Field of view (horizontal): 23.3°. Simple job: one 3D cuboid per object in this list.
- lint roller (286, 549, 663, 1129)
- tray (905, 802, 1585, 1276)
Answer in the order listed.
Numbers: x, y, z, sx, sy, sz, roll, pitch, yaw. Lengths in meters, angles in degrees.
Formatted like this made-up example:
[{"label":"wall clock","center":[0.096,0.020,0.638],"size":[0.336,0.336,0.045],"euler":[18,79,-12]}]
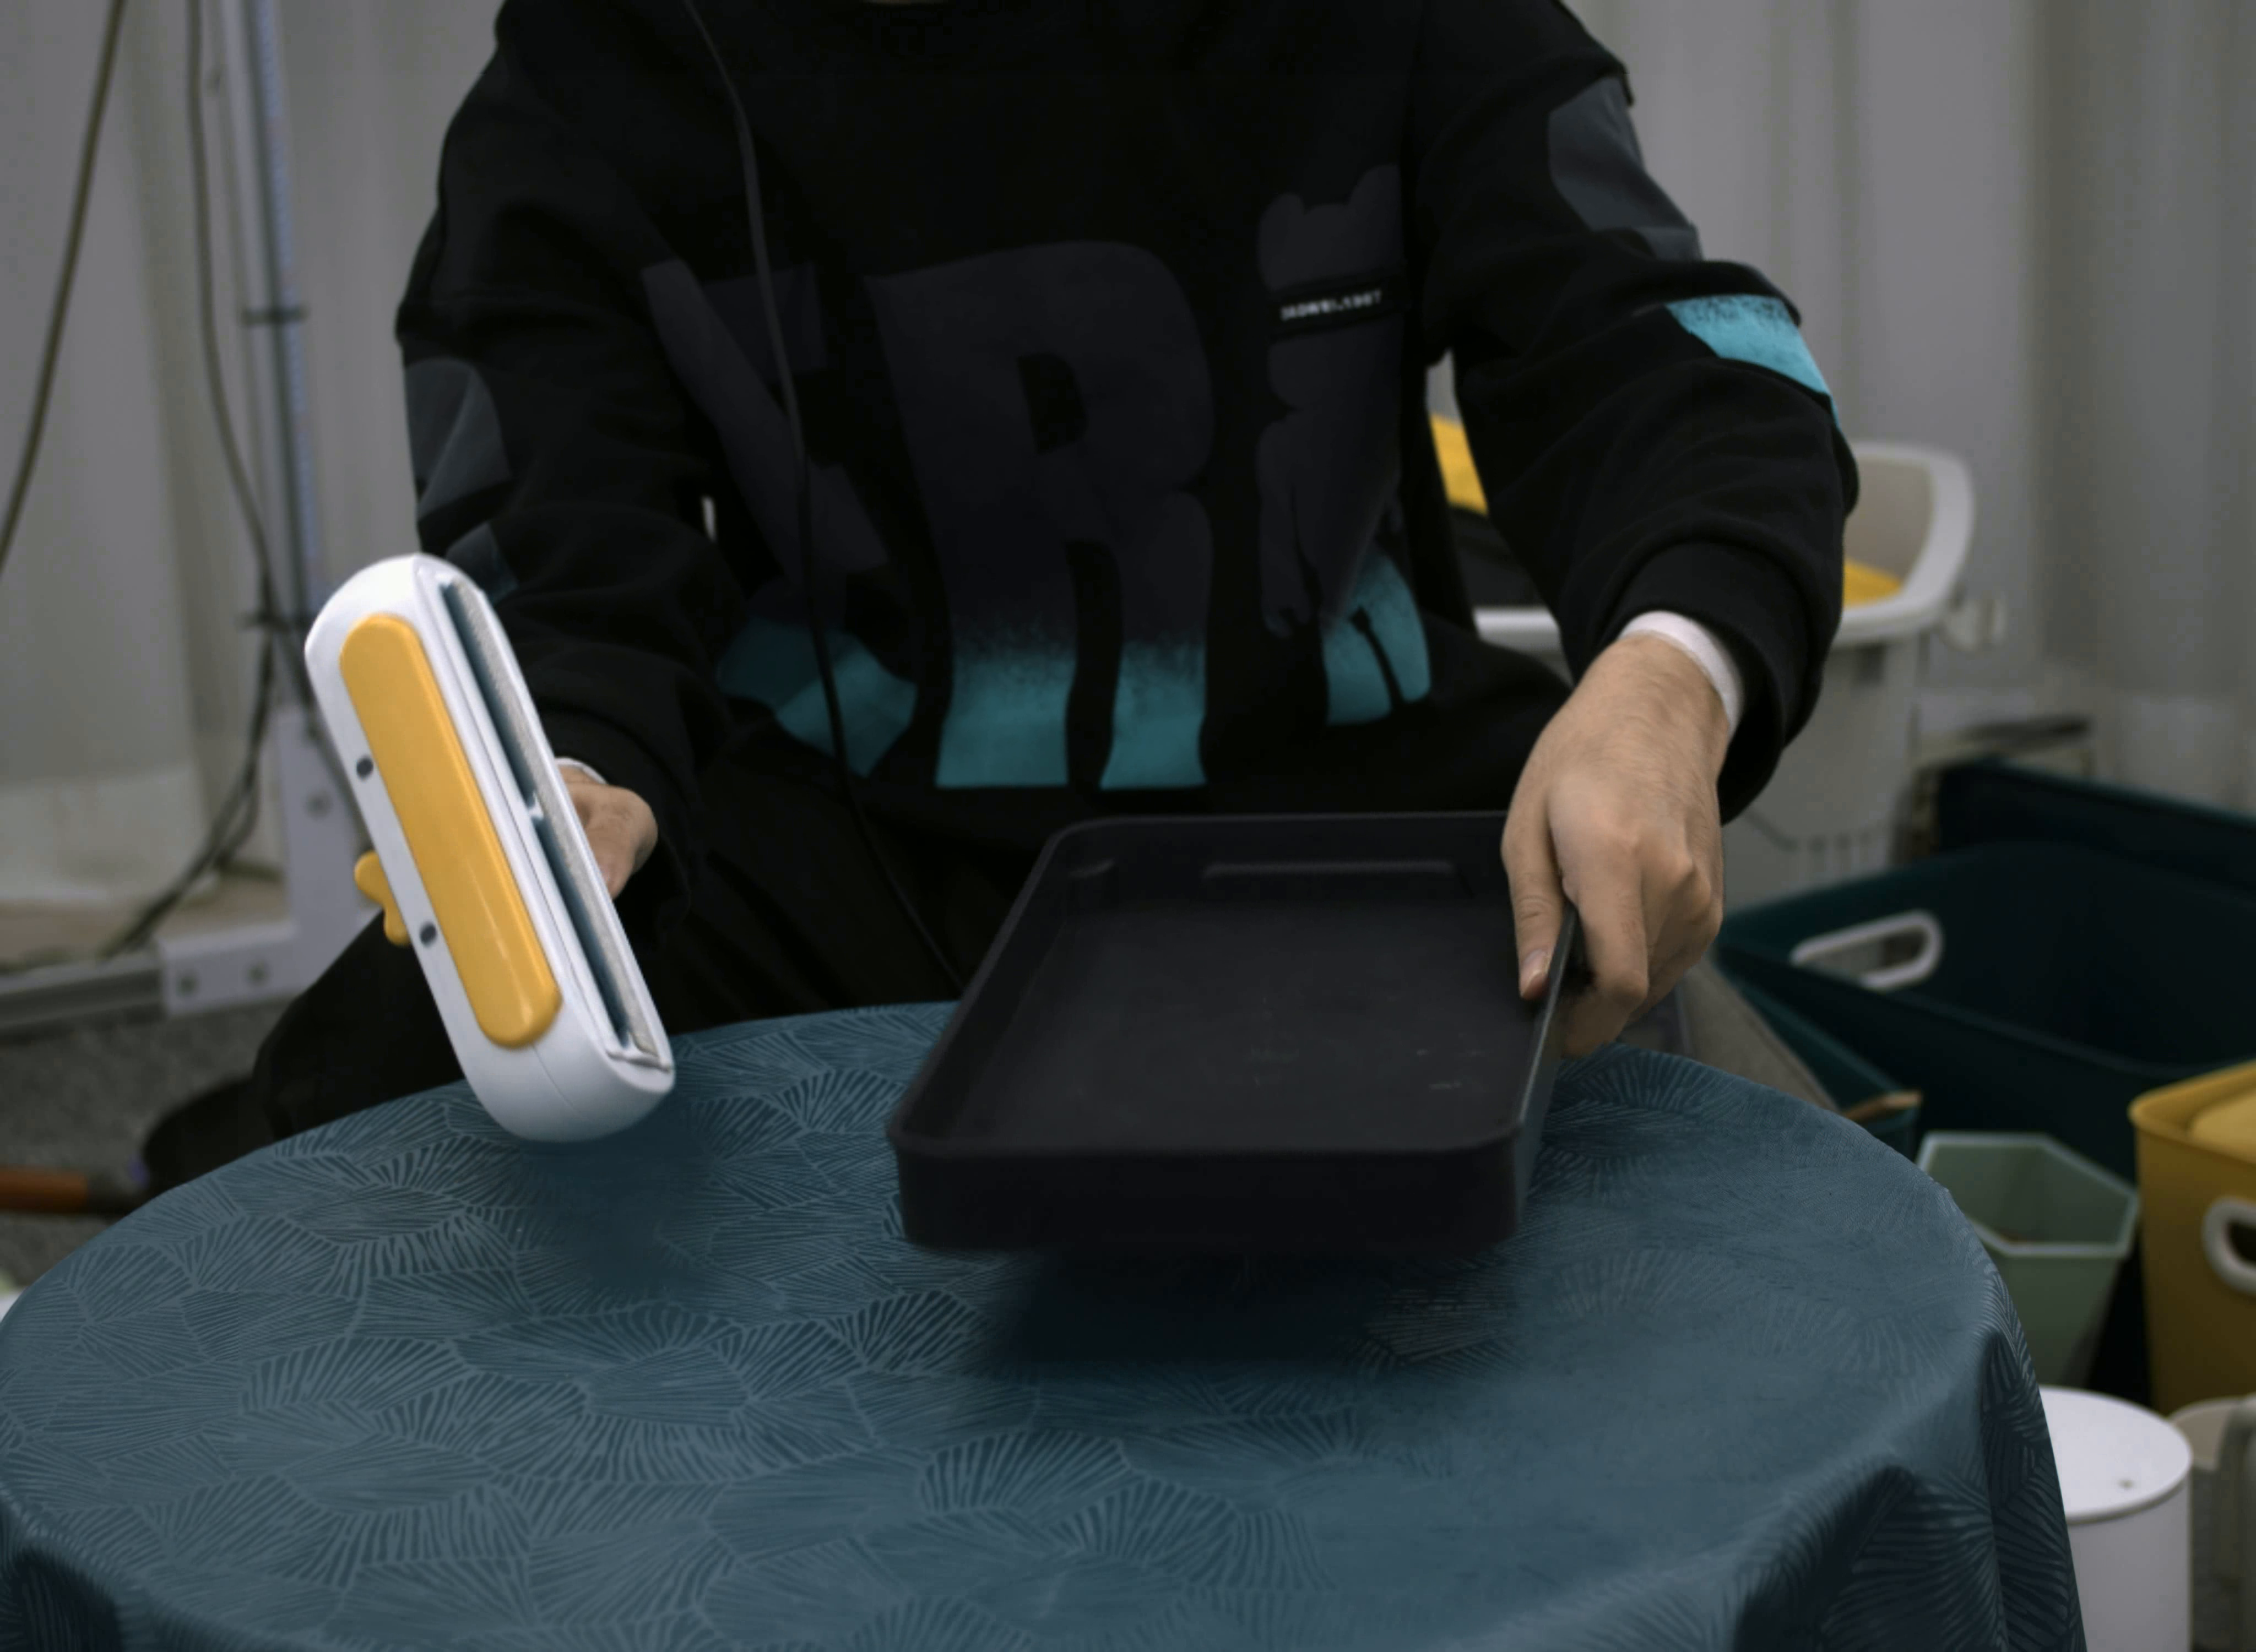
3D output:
[{"label":"lint roller","center":[-0.190,0.023,1.732],"size":[0.074,0.195,0.190],"euler":[-31,-22,5]},{"label":"tray","center":[0.044,0.060,1.680],"size":[0.184,0.037,0.320],"euler":[-3,18,8]}]
